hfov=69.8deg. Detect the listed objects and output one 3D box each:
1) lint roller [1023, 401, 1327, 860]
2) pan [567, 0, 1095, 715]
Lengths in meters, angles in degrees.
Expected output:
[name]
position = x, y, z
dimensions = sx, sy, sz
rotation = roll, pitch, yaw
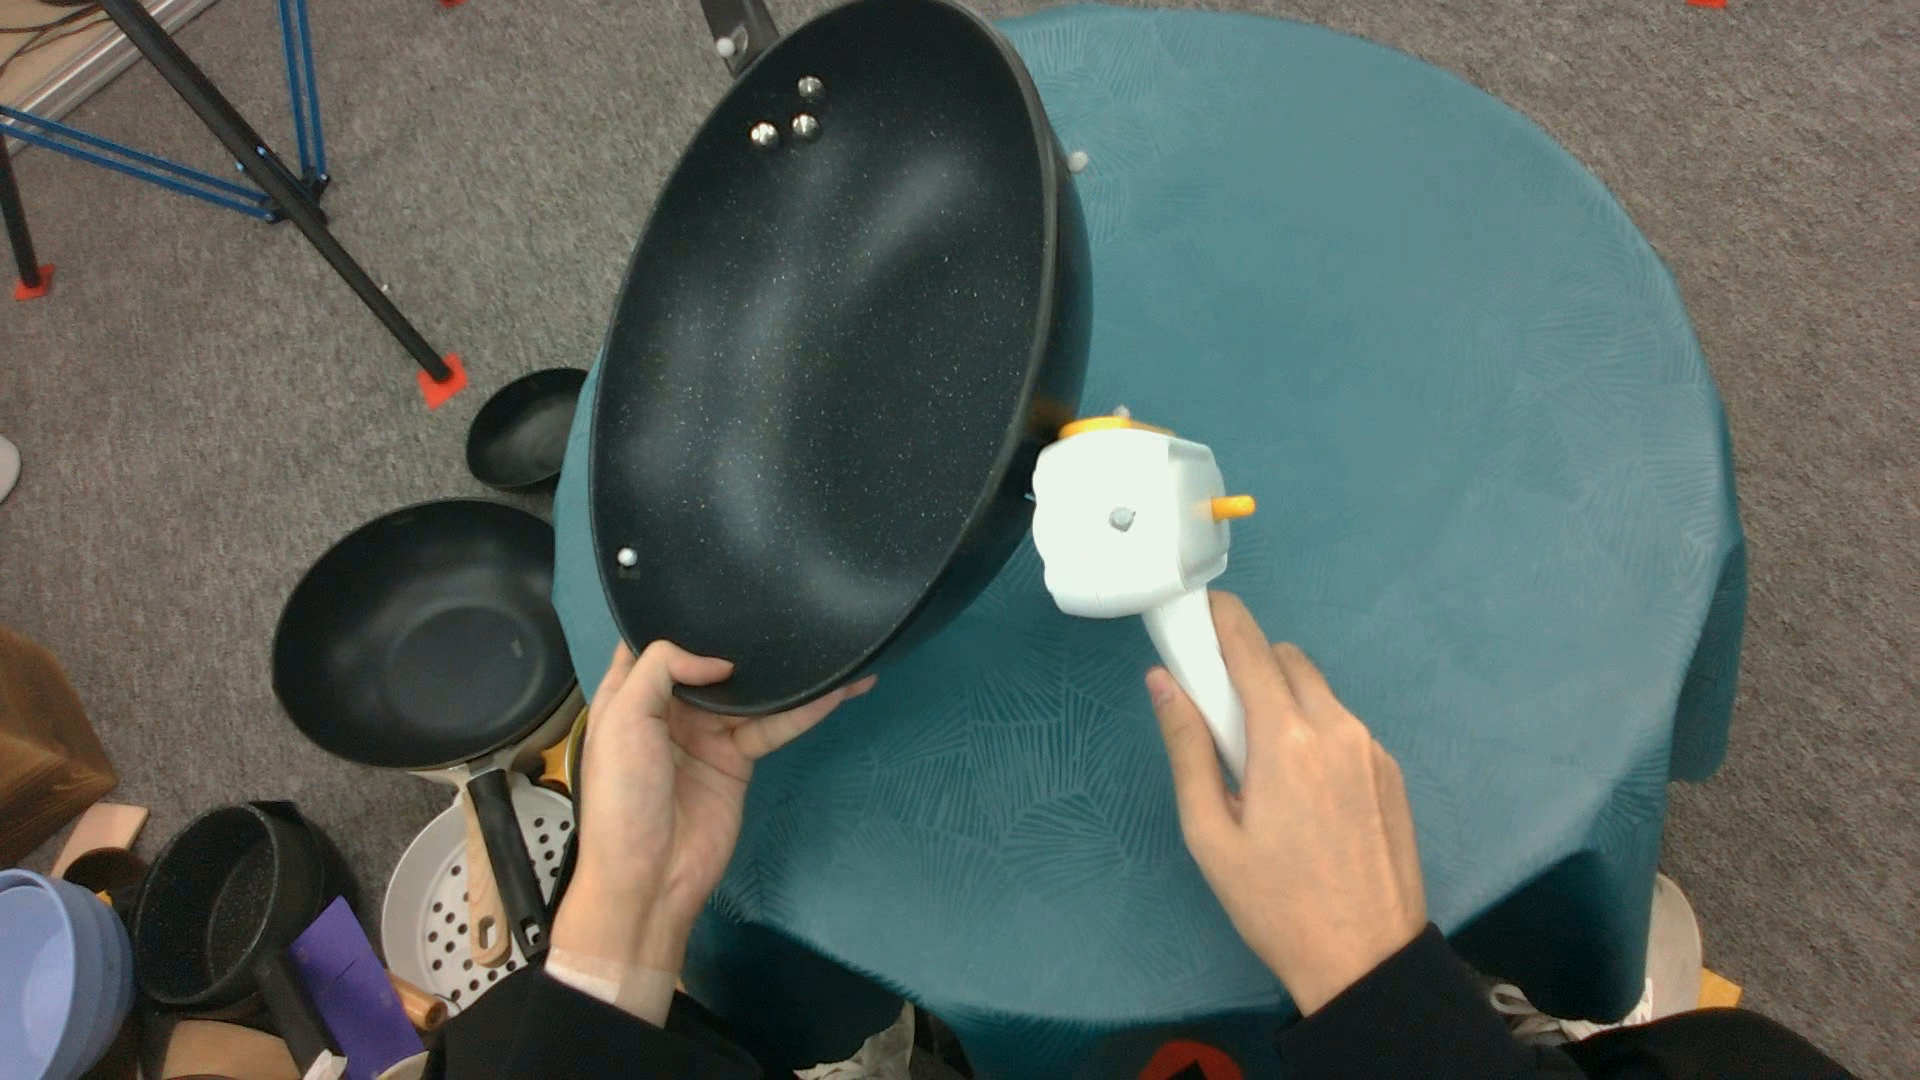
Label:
[lint roller]
position = 0.089, 0.037, 0.539
dimensions = 0.074, 0.193, 0.192
rotation = -17, 92, 11
[pan]
position = -0.074, -0.151, 0.631
dimensions = 0.309, 0.112, 0.478
rotation = -30, 59, 34
